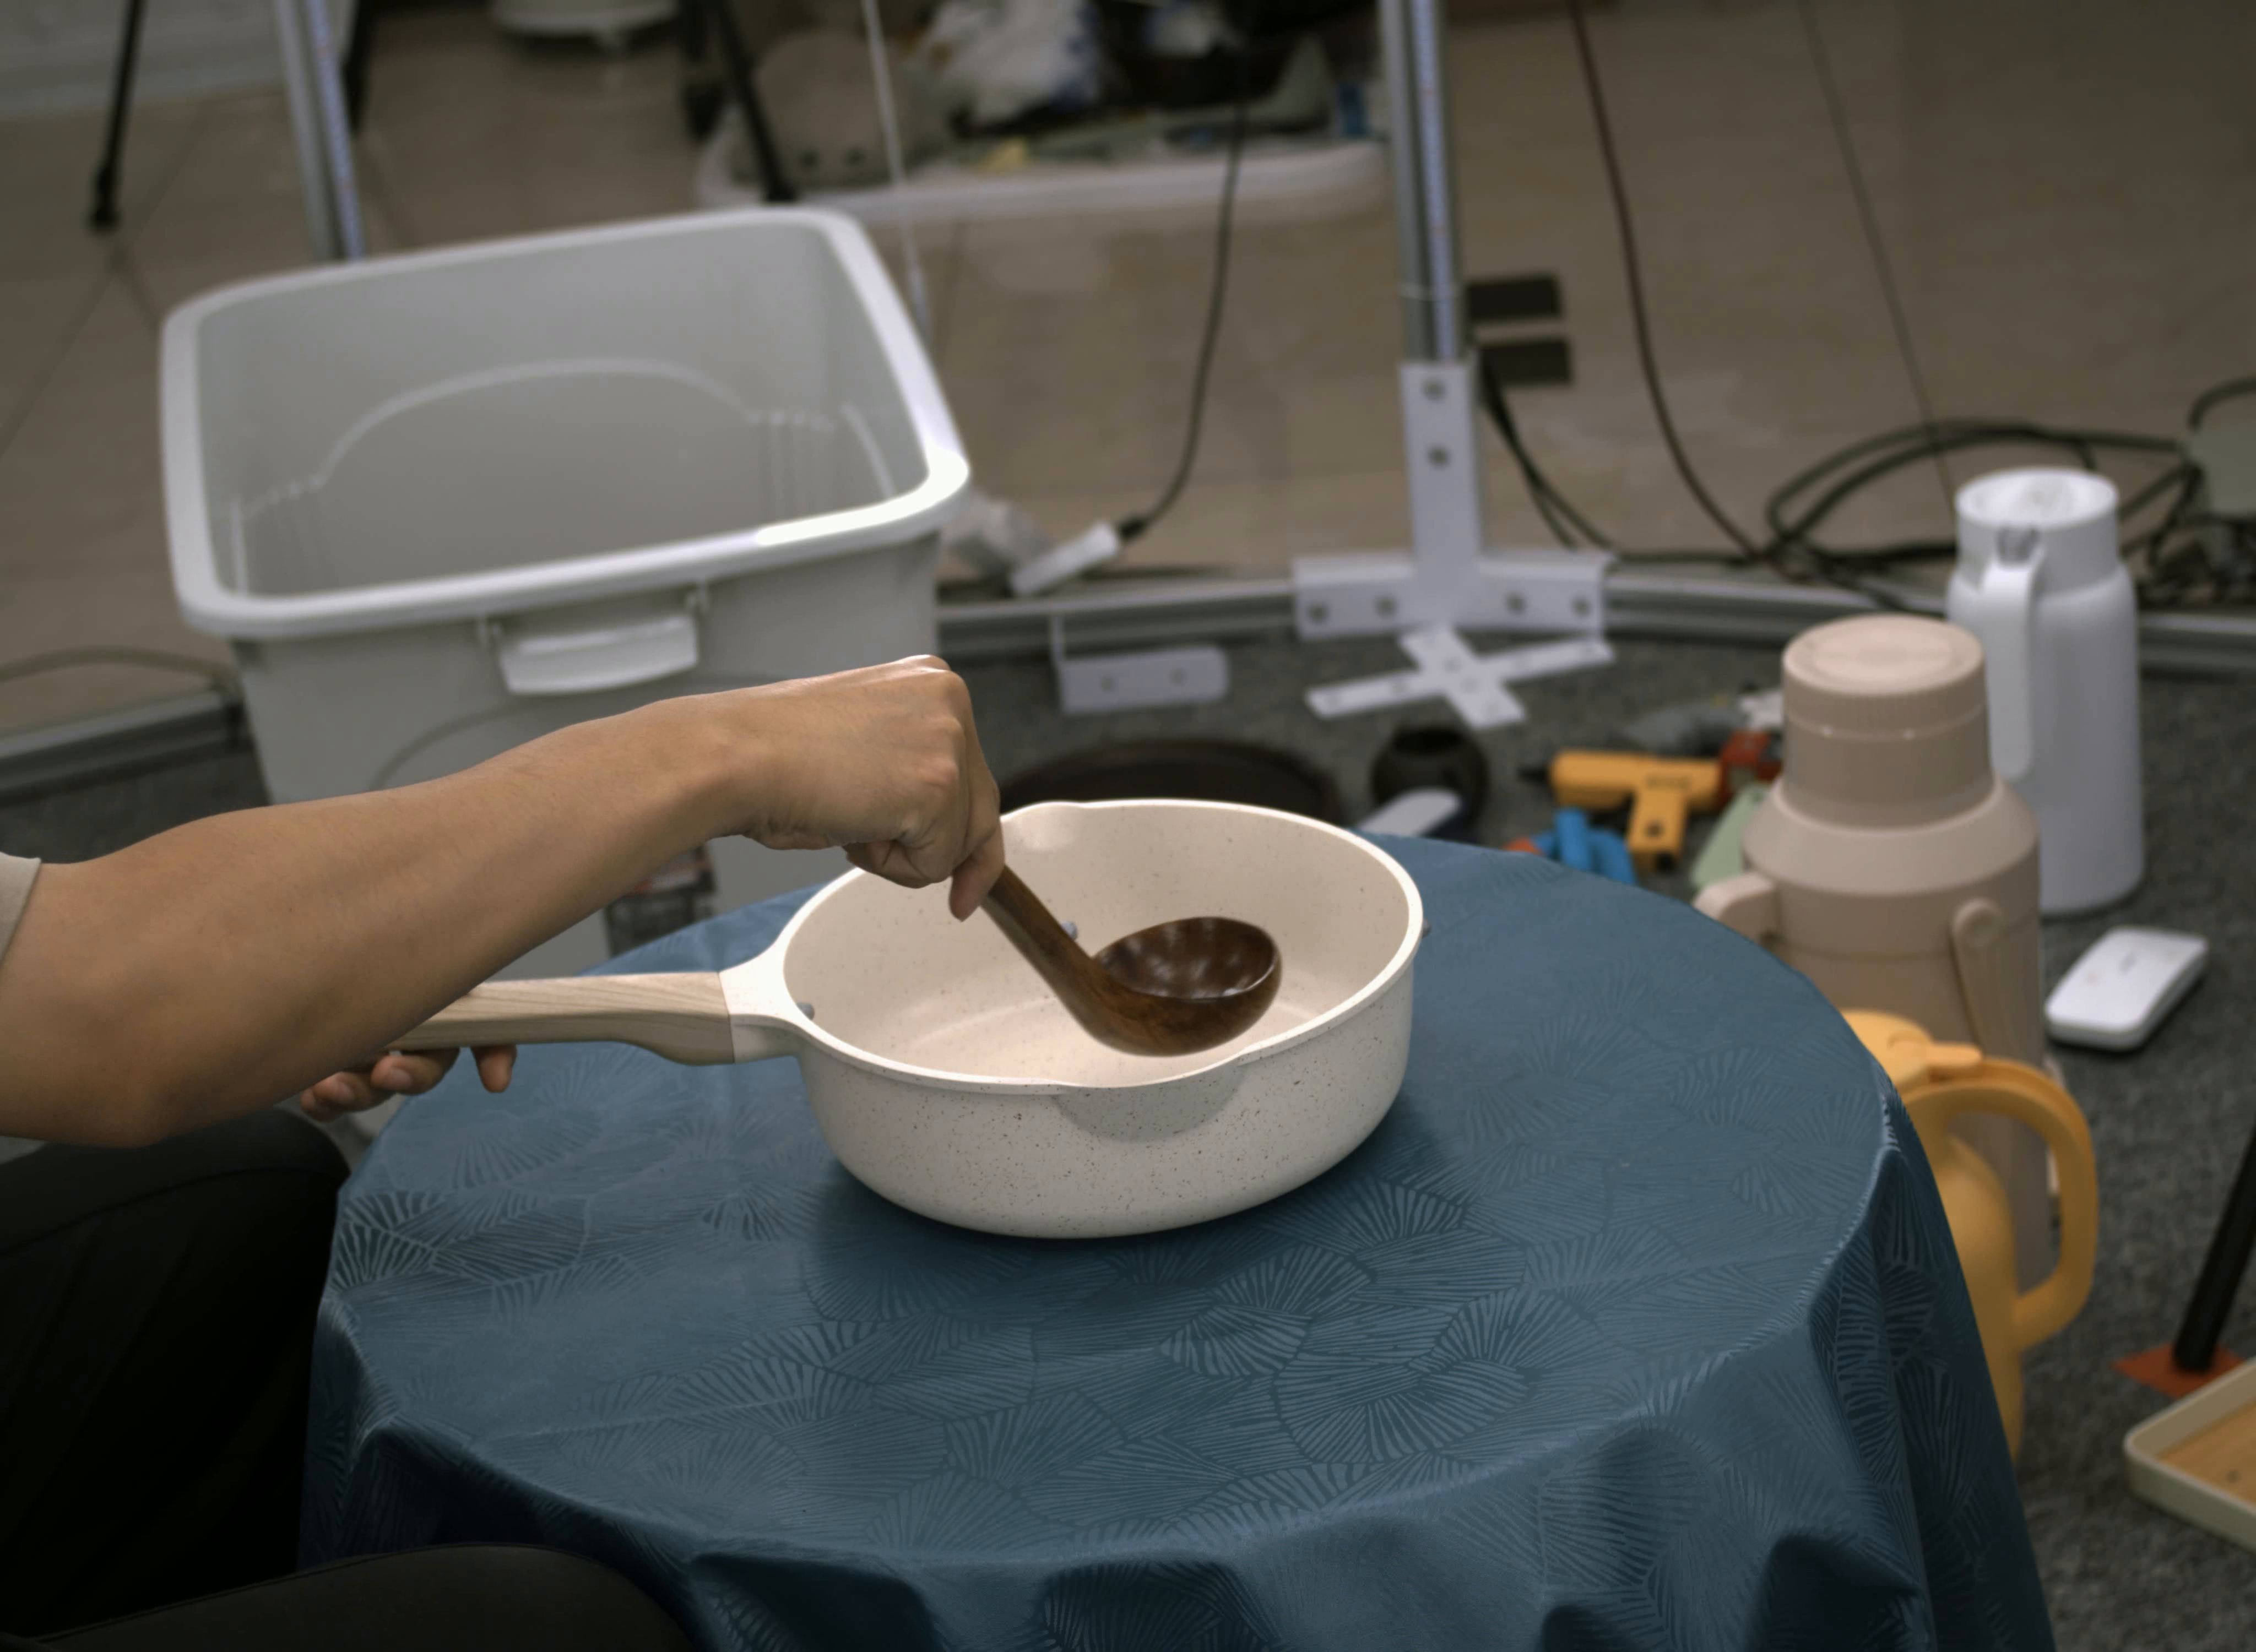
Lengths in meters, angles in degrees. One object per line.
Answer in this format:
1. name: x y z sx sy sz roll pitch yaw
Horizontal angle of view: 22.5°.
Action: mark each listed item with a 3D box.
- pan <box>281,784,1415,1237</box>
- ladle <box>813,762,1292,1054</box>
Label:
1. pan: -0.102 0.083 2.177 0.434 0.103 0.259 -10 27 -7
2. ladle: -0.027 0.013 2.049 0.082 0.277 0.076 -2 63 30
